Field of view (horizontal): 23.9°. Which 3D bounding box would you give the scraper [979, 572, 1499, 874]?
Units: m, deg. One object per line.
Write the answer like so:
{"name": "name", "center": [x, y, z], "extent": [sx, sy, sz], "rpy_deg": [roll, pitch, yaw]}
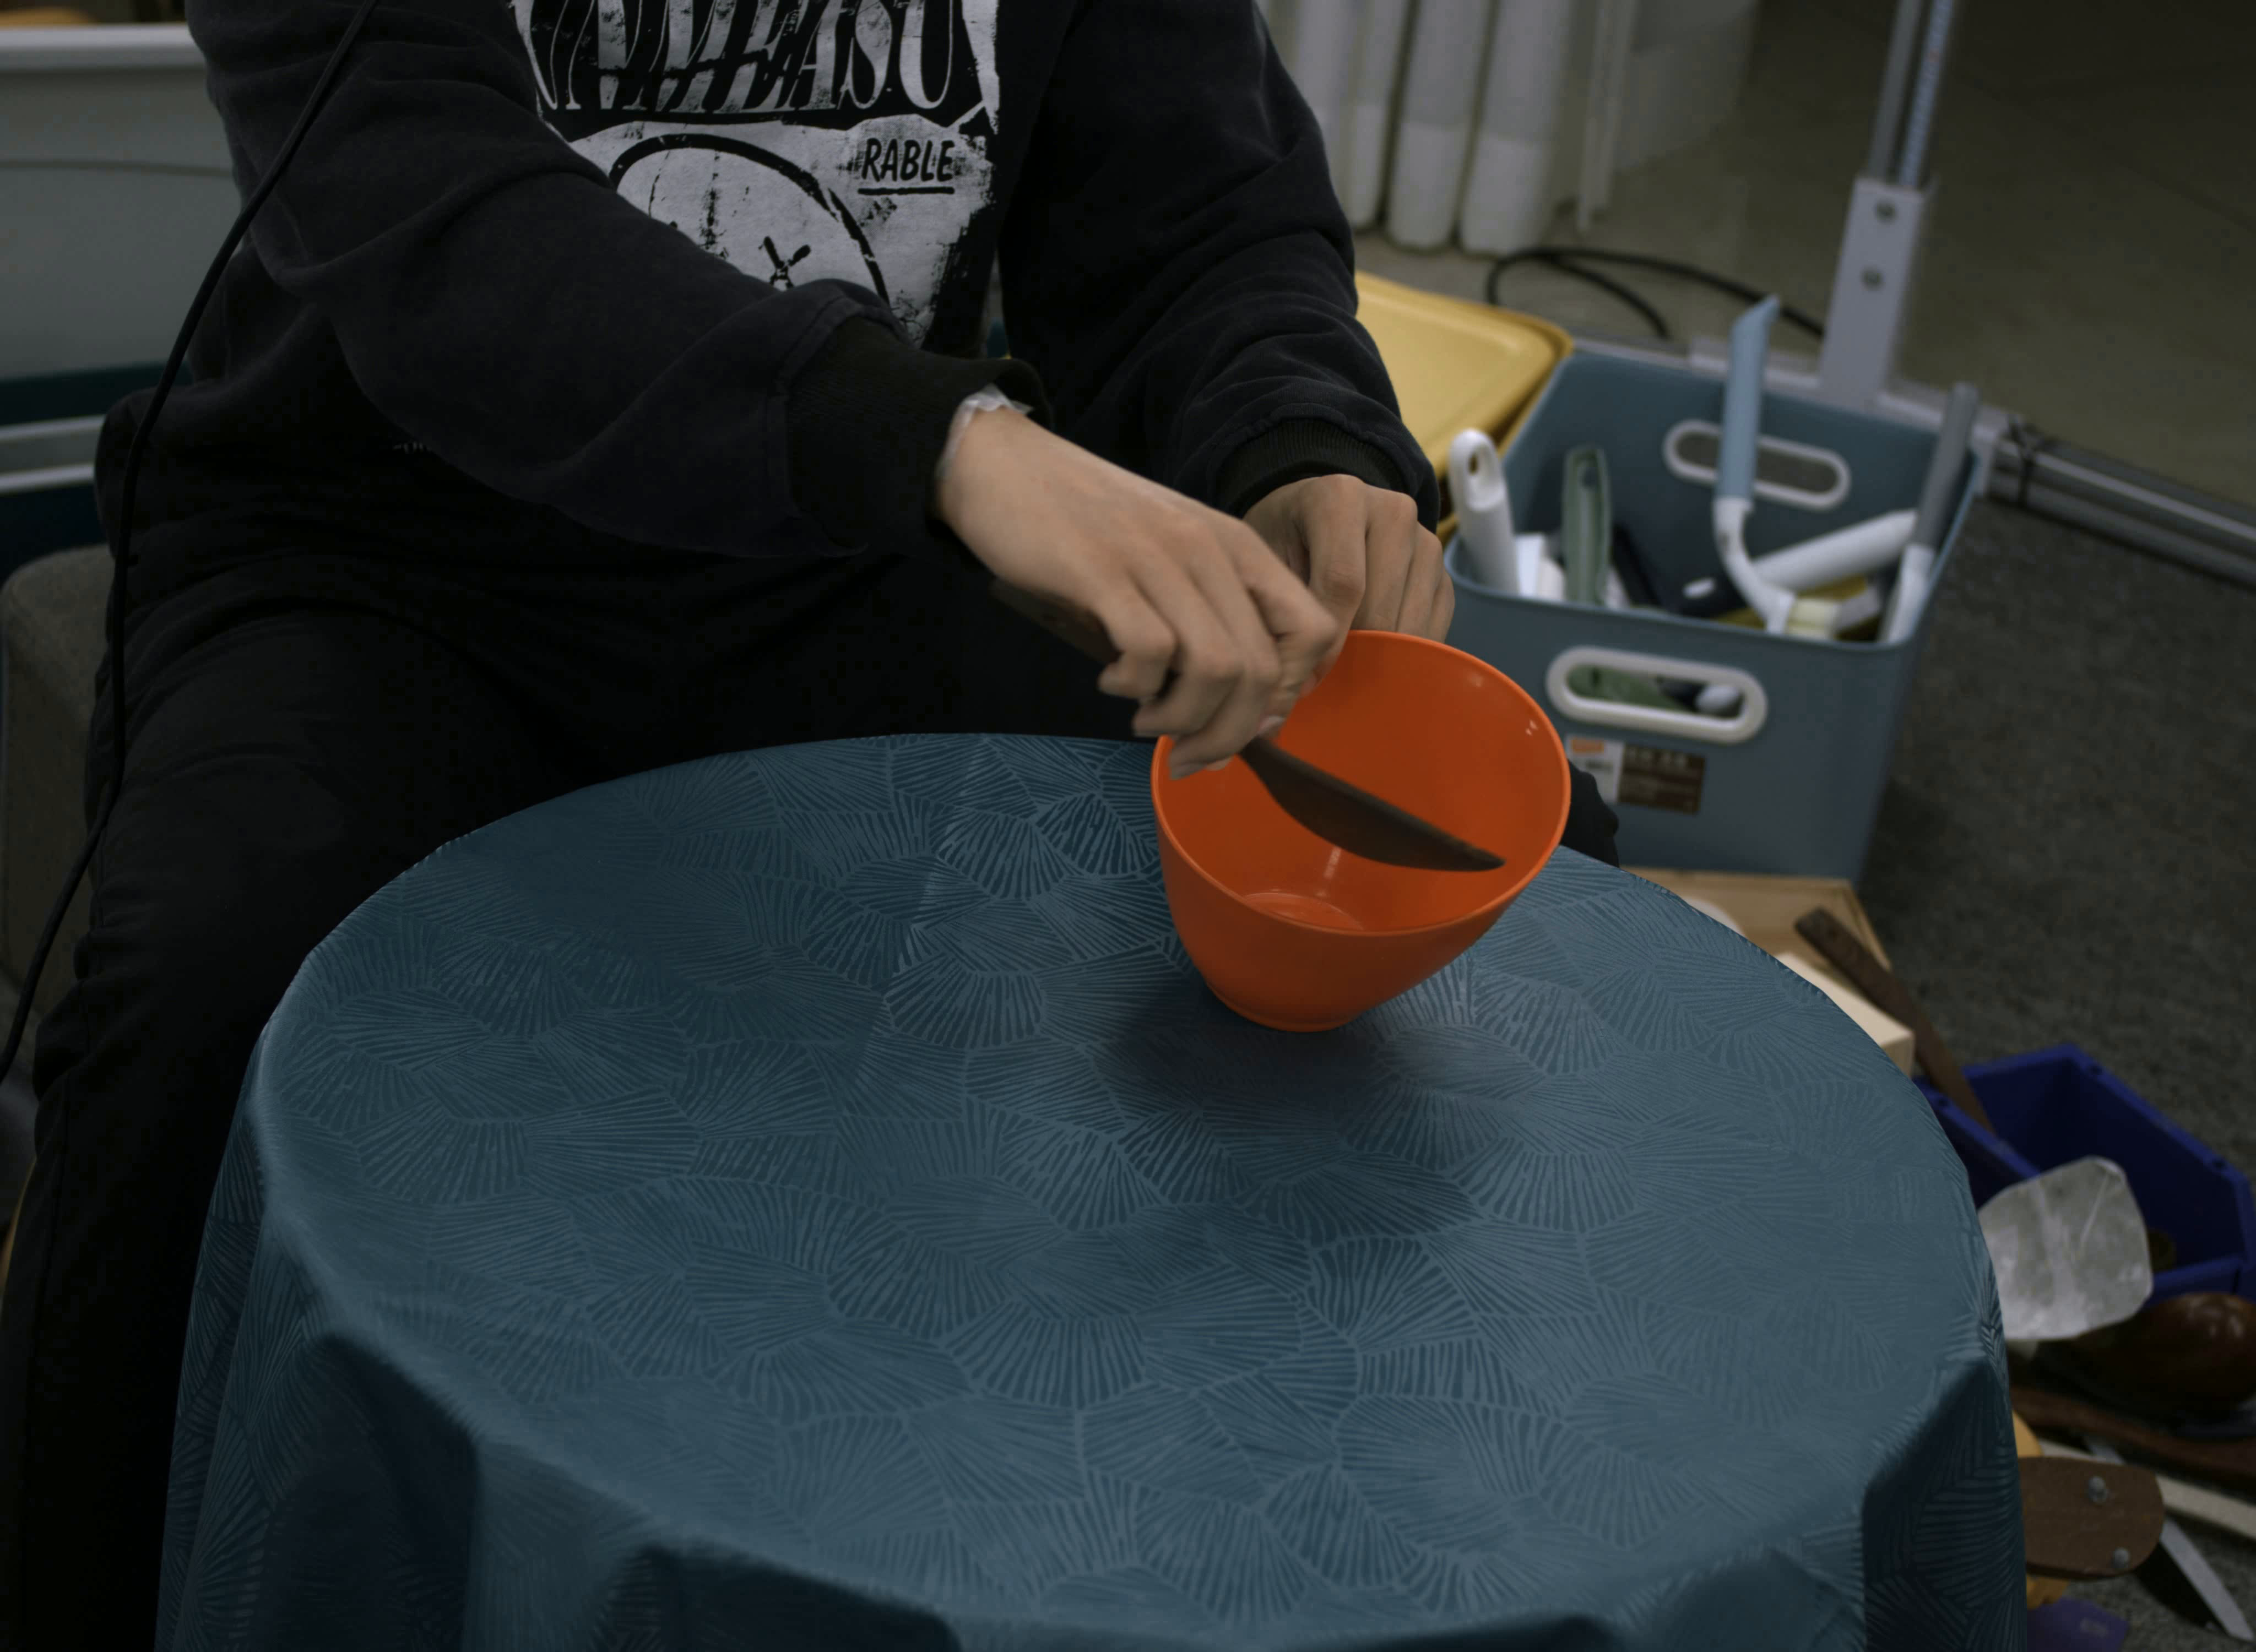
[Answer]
{"name": "scraper", "center": [0.033, -0.032, 1.789], "extent": [0.209, 0.011, 0.076], "rpy_deg": [33, -16, -28]}

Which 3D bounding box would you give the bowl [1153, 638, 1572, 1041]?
{"name": "bowl", "center": [0.077, 0.015, 1.906], "extent": [0.147, 0.104, 0.149], "rpy_deg": [7, 41, -7]}
